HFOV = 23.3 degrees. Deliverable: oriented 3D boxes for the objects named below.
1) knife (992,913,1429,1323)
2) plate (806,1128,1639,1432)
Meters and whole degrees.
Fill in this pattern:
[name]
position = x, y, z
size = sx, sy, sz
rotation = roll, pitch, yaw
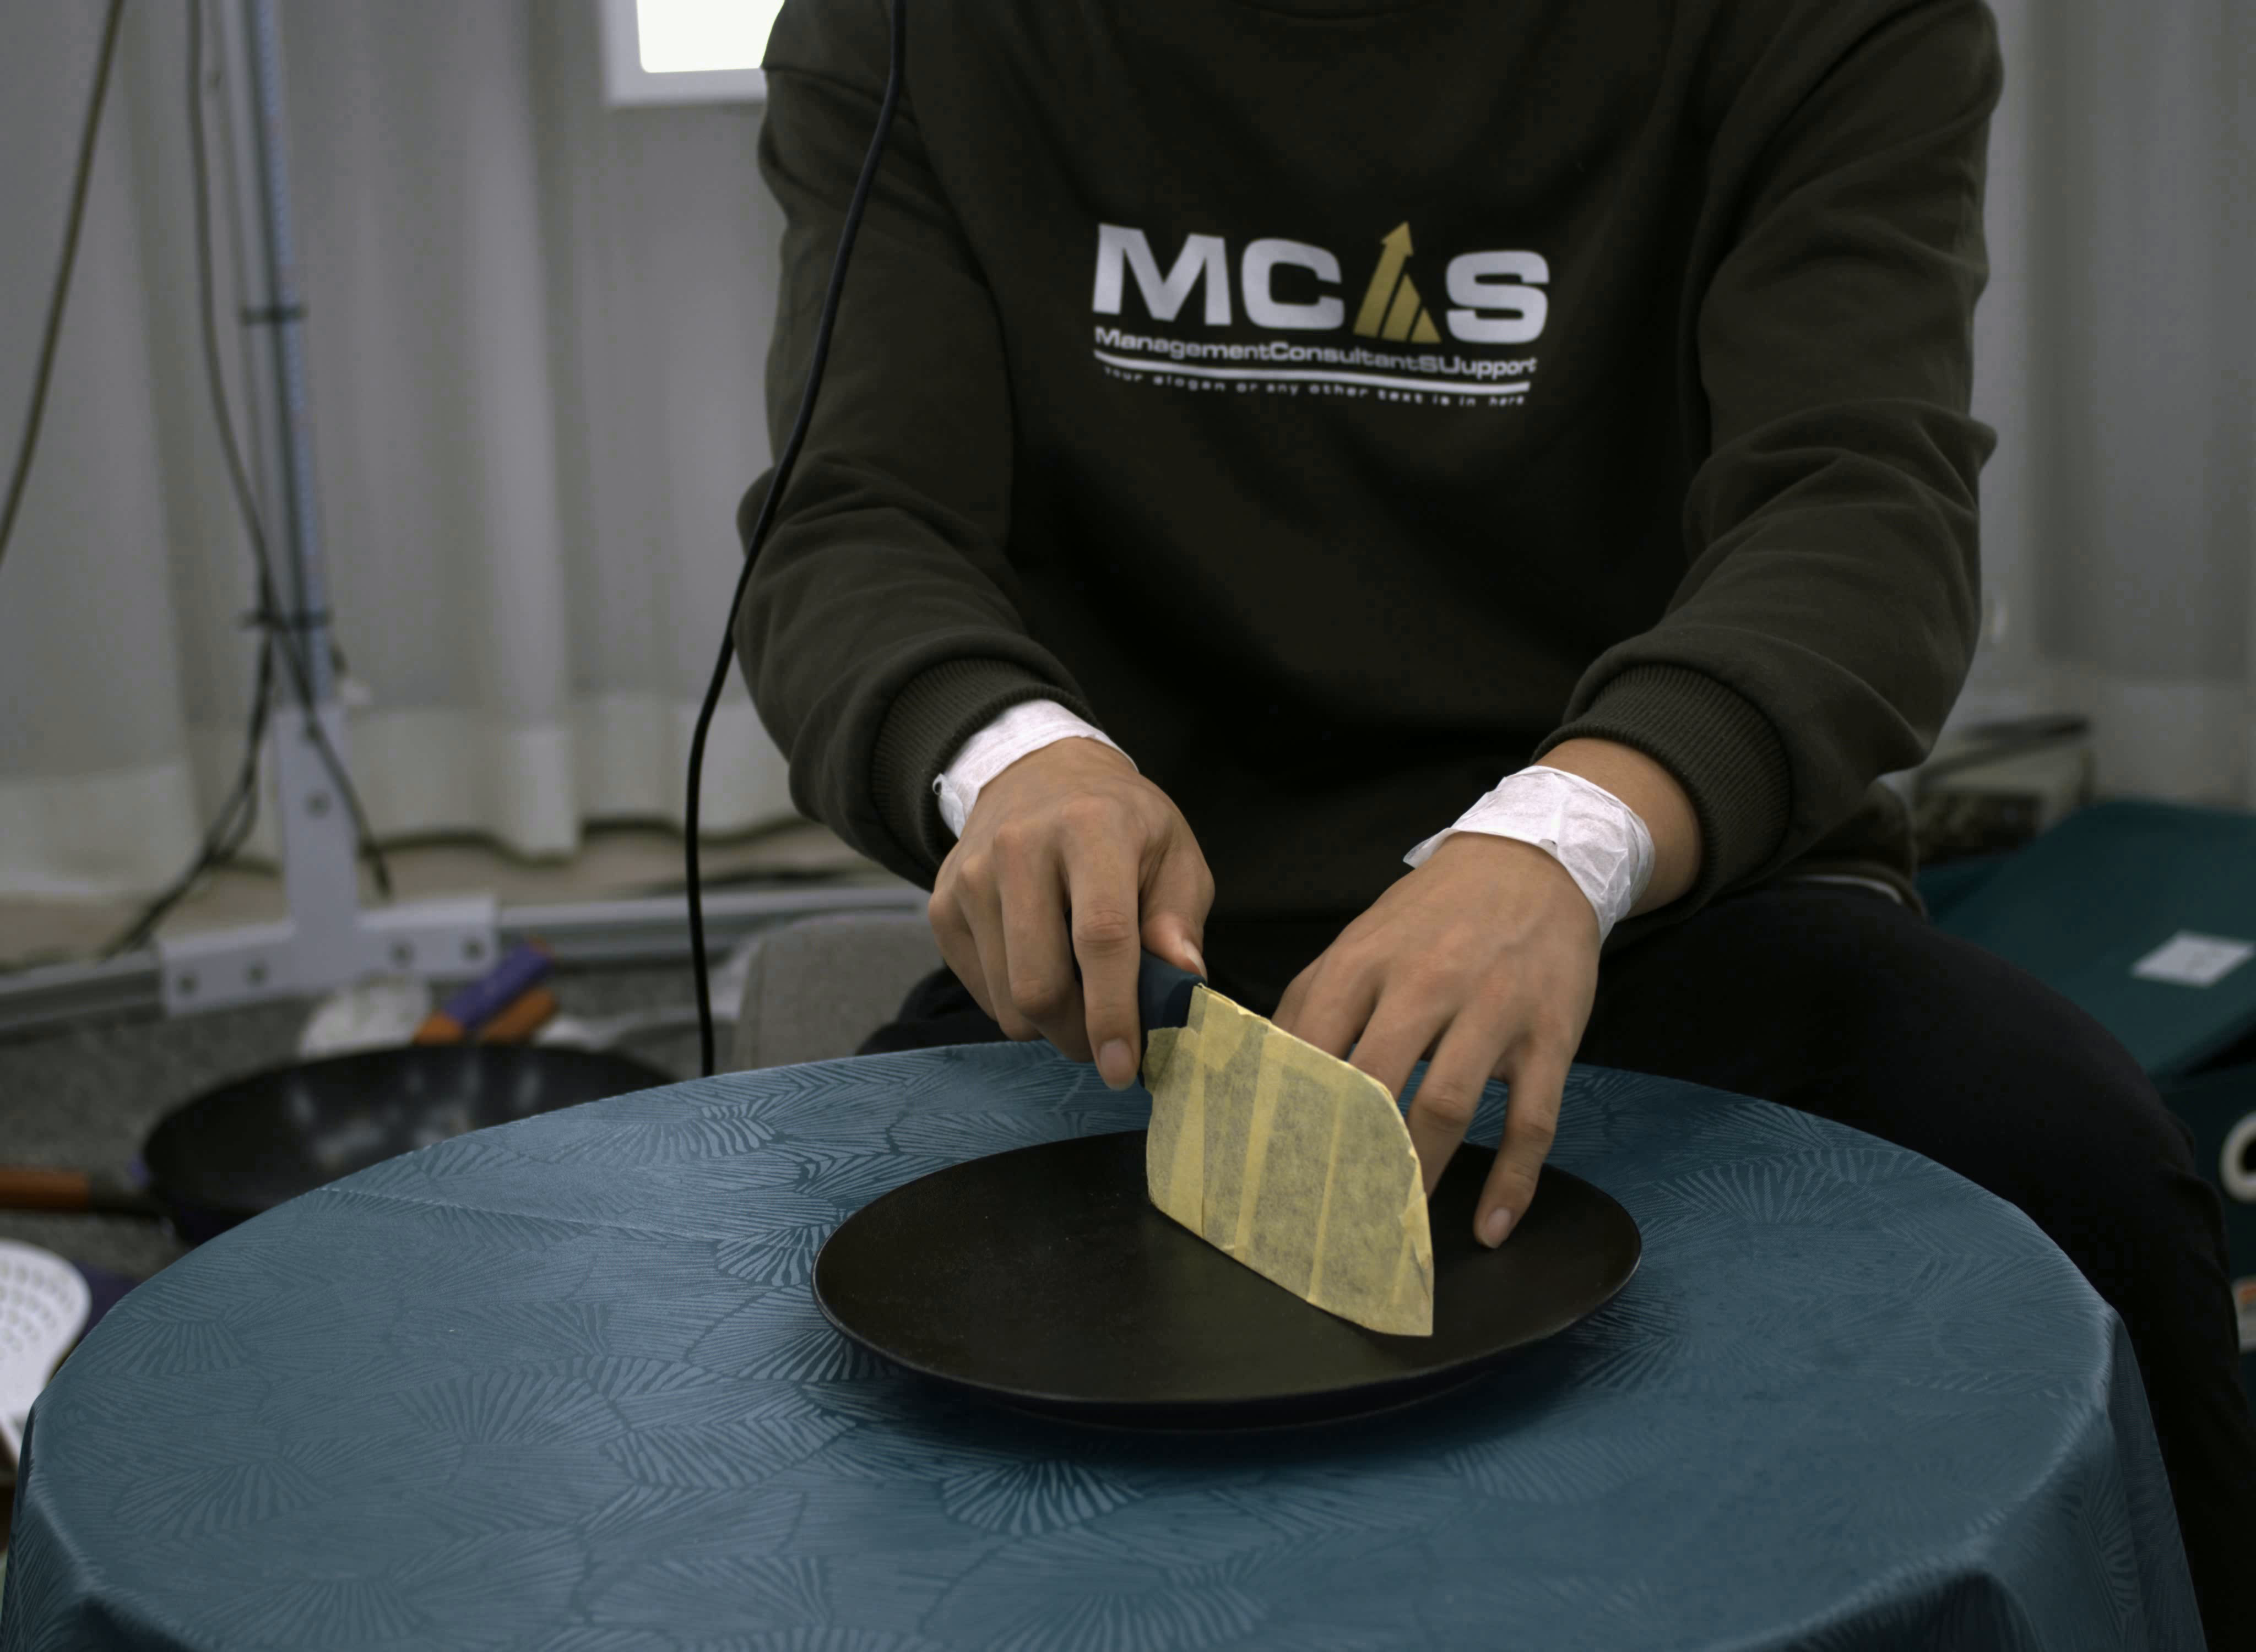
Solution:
[knife]
position = 0.022, 0.083, 1.649
size = 0.027, 0.081, 0.292
rotation = 7, 12, -27
[plate]
position = 0.028, 0.134, 1.594
size = 0.243, 0.023, 0.246
rotation = -3, 15, 0
